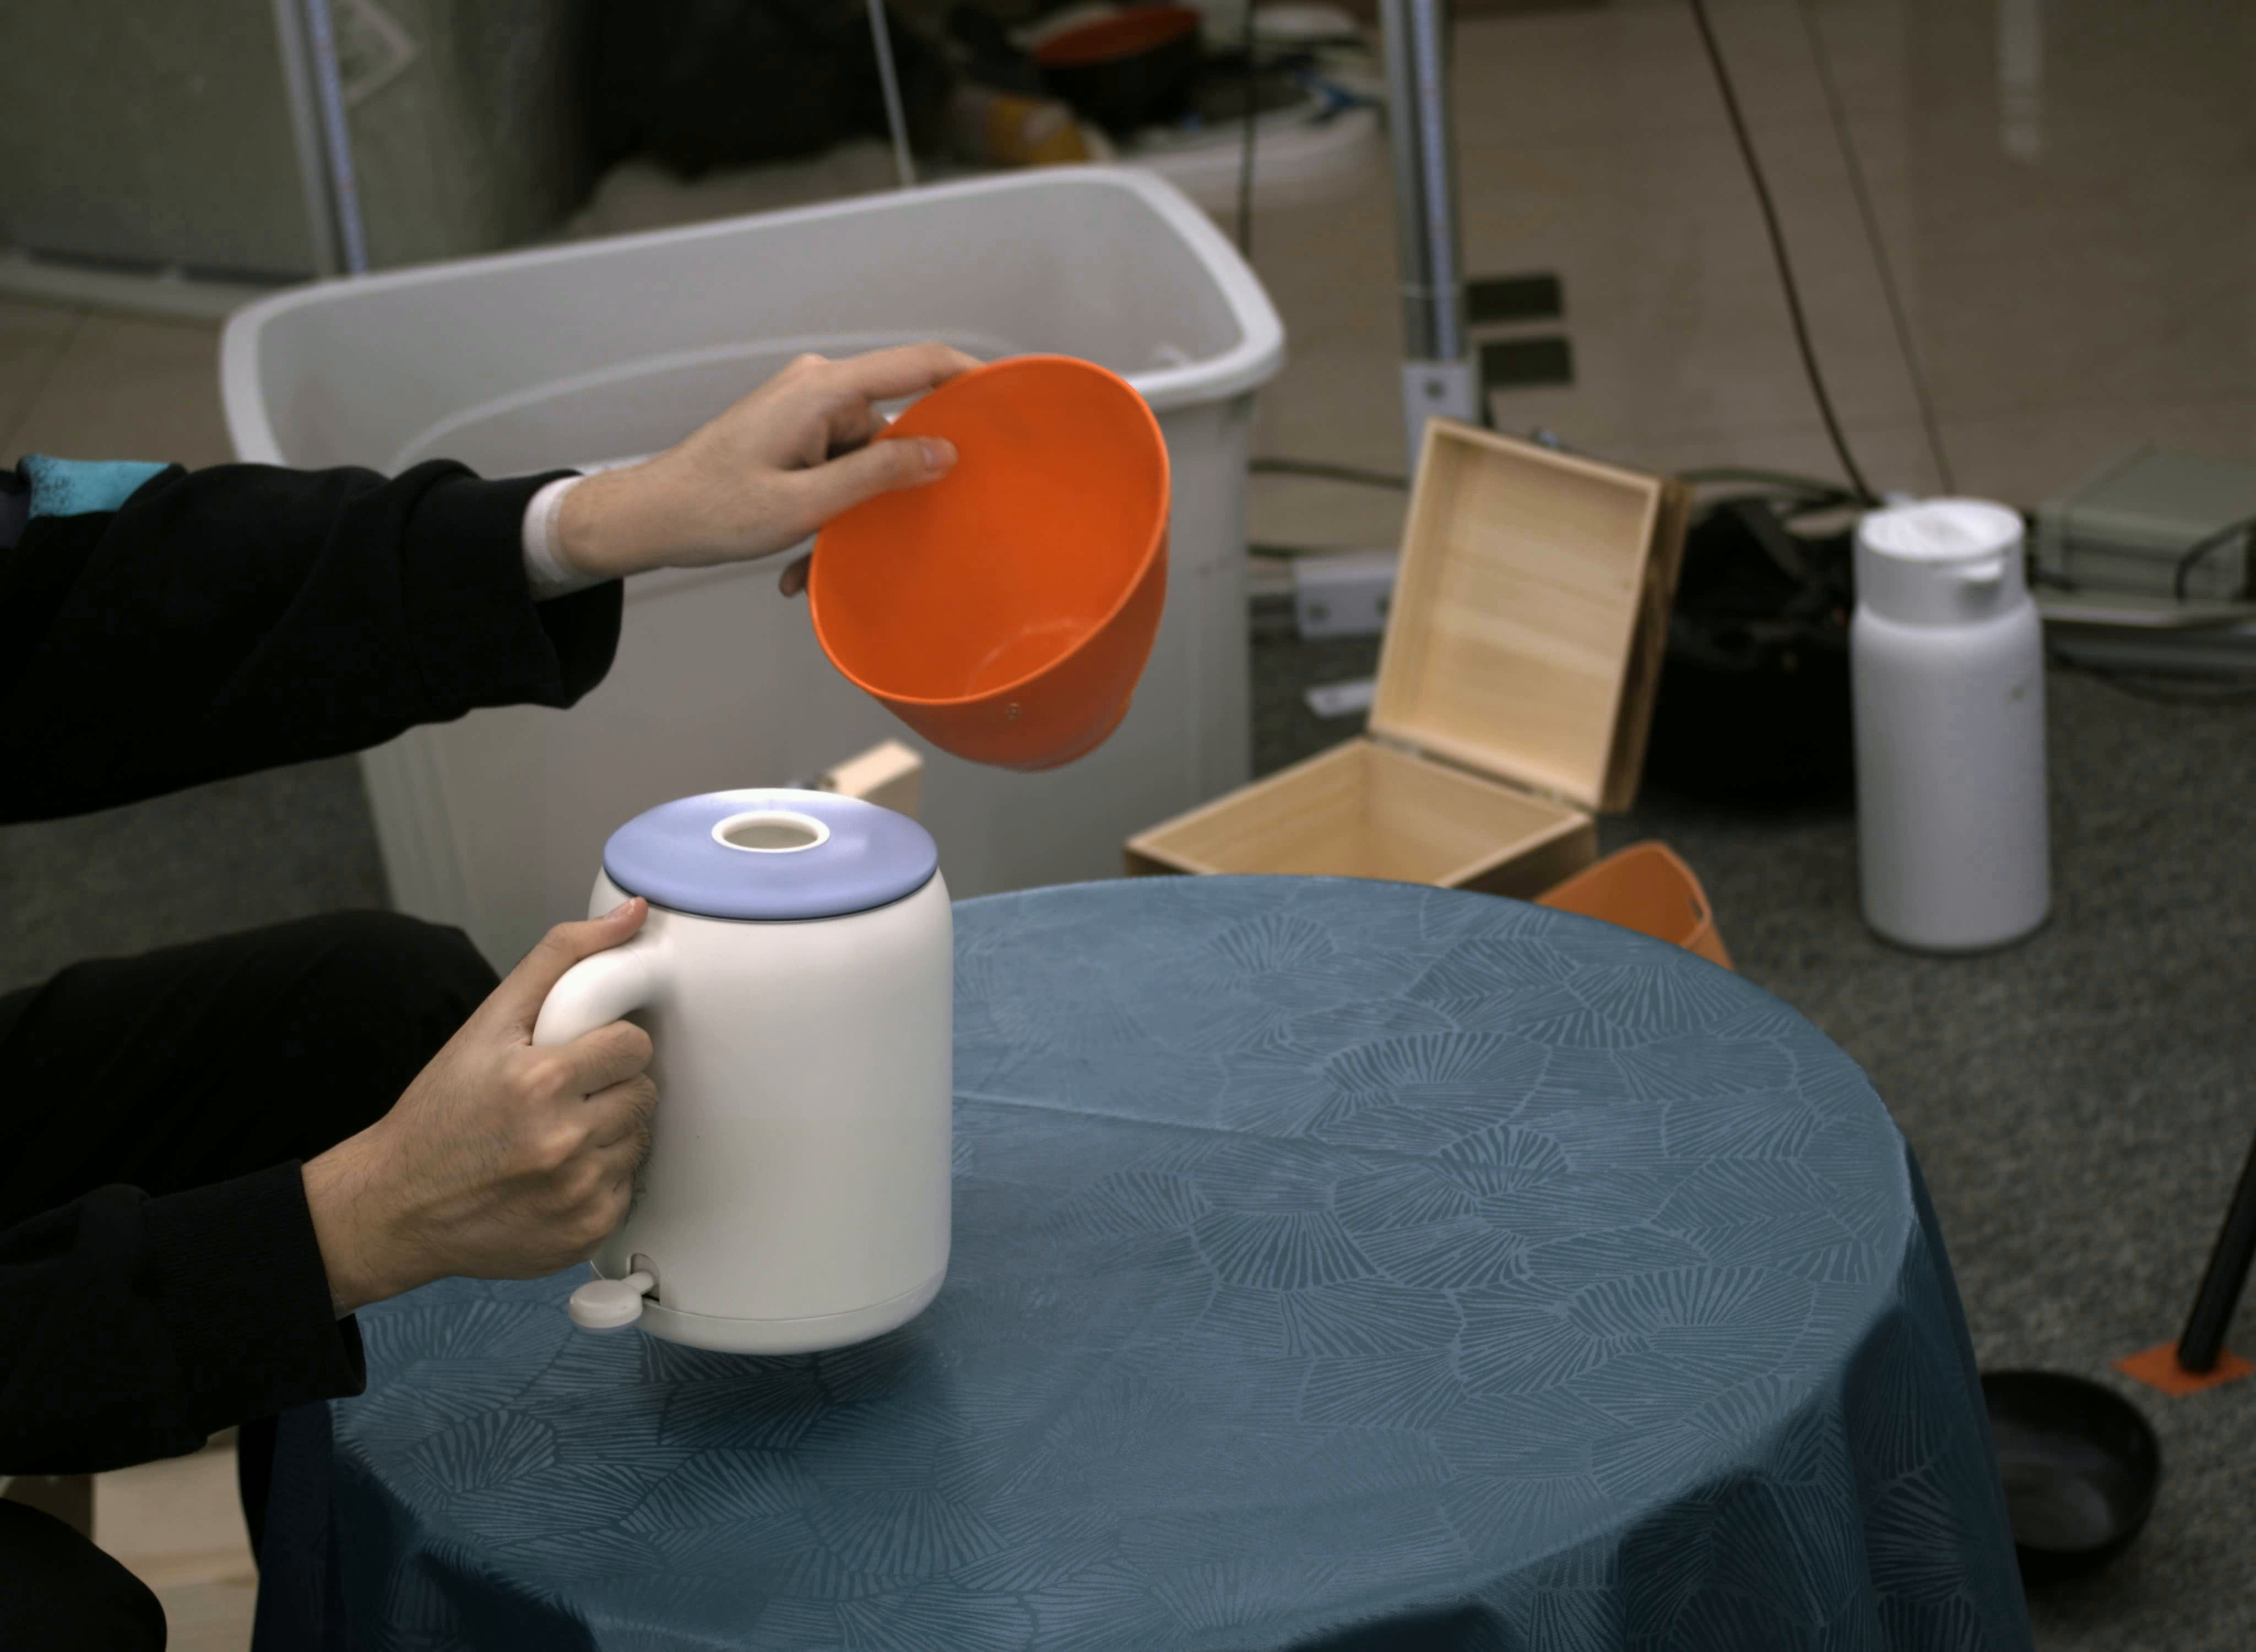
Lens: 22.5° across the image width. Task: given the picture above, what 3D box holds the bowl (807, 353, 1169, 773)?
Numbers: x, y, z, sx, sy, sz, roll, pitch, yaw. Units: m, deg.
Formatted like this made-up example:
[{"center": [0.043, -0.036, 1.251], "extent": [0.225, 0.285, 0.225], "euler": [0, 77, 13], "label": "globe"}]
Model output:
[{"center": [-0.037, -0.085, 2.083], "extent": [0.148, 0.106, 0.145], "euler": [-13, 51, 17], "label": "bowl"}]

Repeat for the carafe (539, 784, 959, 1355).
[{"center": [-0.142, 0.093, 2.004], "extent": [0.131, 0.185, 0.189], "euler": [16, 28, 35], "label": "carafe"}]
